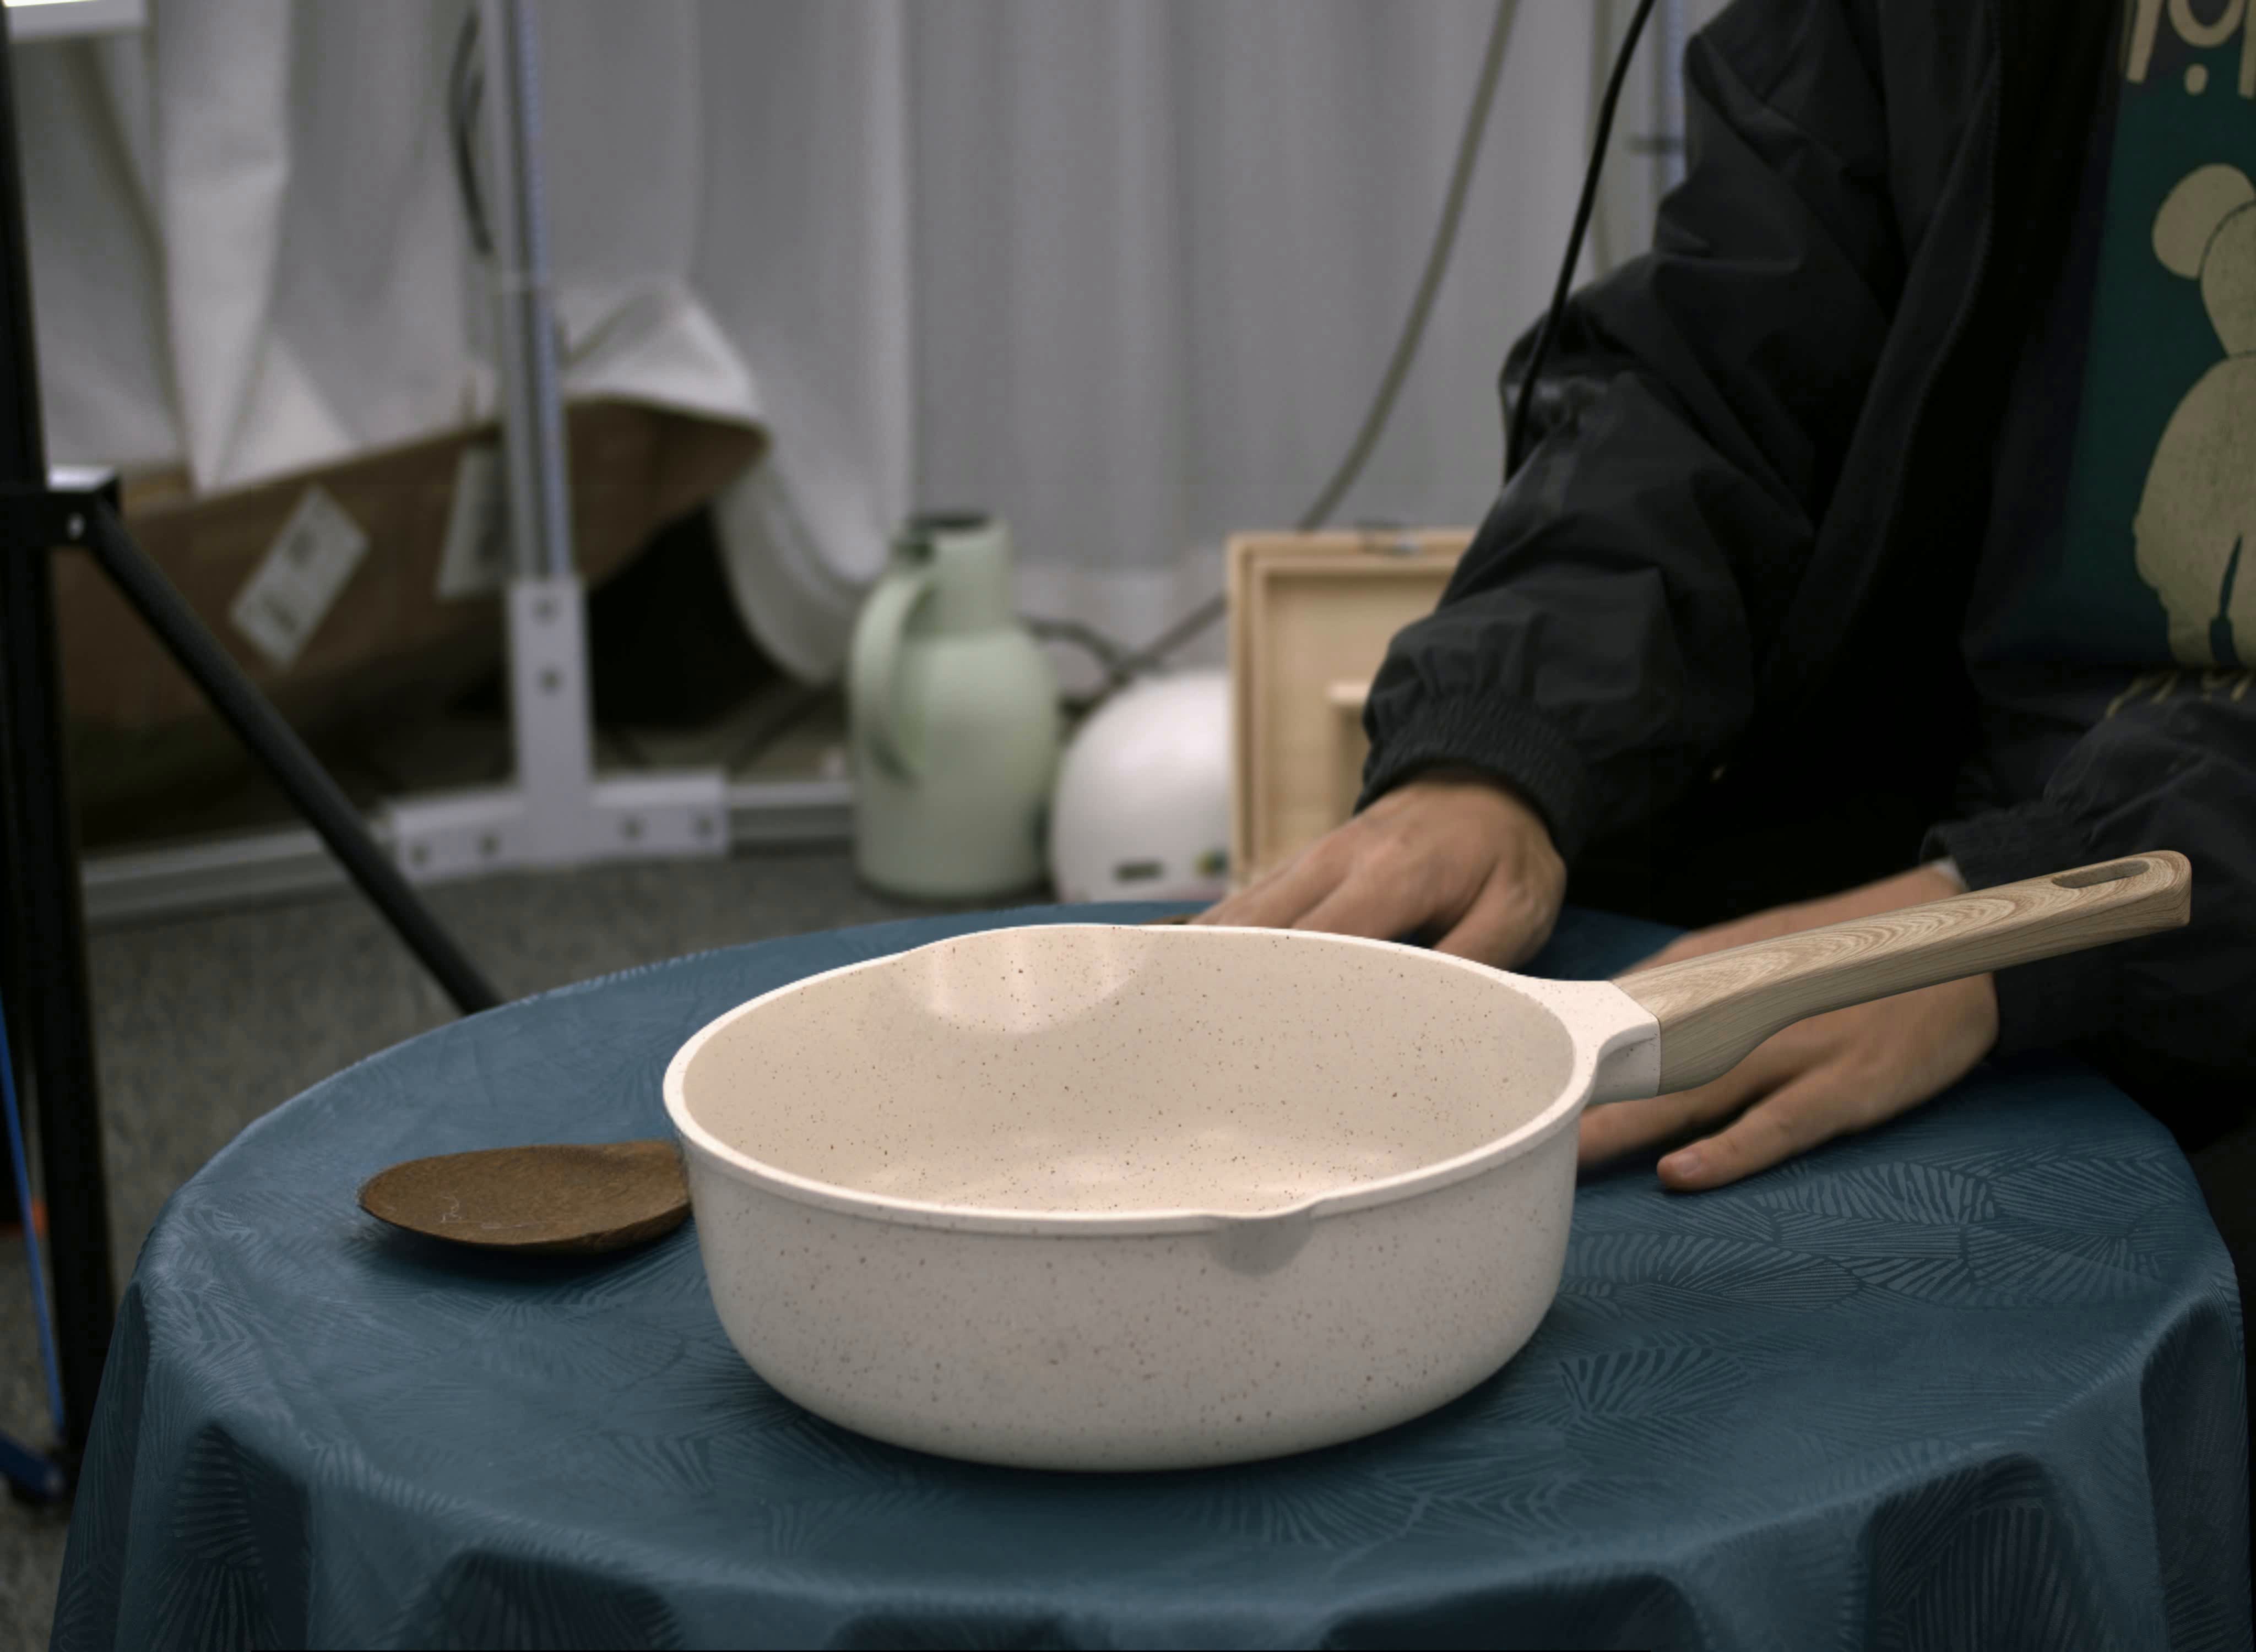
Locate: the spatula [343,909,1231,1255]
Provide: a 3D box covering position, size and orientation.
[{"bbox_3d":[-0.086,0.074,1.664,0.098,0.016,0.378,11,20,37],"label":"spatula"}]

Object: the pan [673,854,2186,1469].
[{"bbox_3d":[0.093,0.083,1.444,0.428,0.102,0.267,-7,15,-13],"label":"pan"}]
